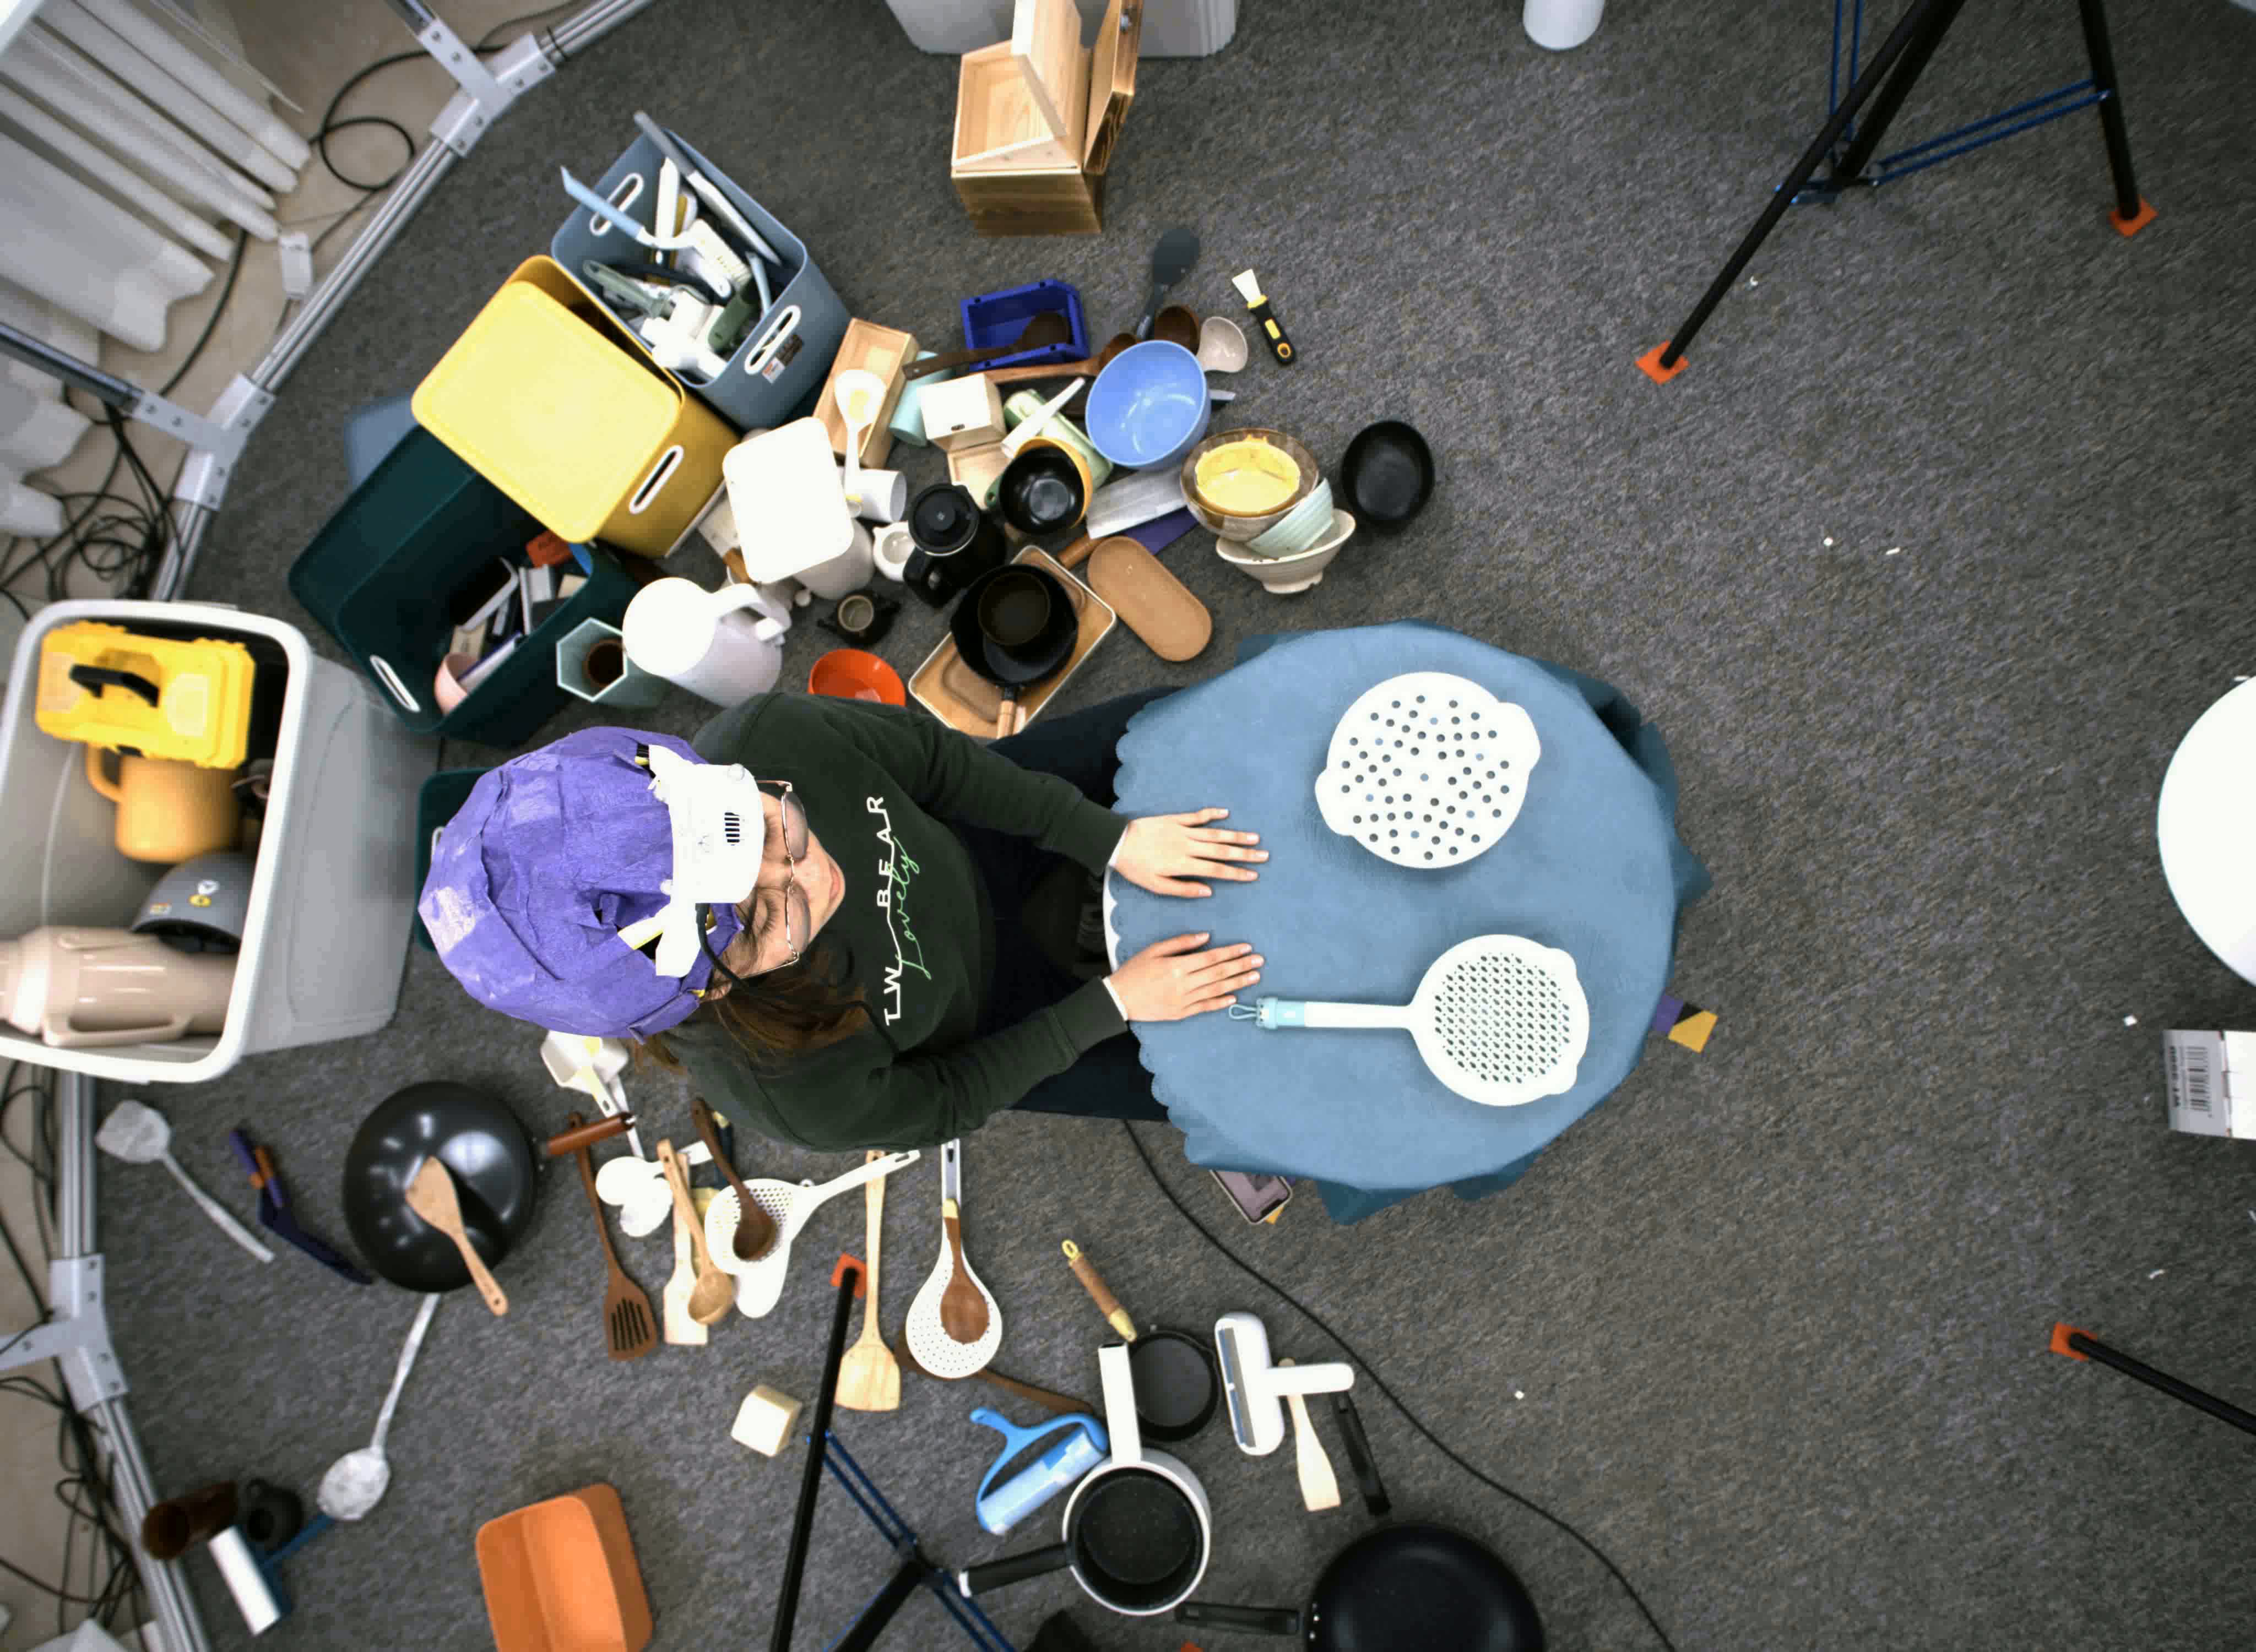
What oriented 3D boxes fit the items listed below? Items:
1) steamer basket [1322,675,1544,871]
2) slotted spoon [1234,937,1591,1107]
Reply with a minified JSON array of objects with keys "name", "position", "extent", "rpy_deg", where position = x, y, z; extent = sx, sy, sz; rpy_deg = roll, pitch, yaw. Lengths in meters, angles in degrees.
[{"name":"steamer basket","position":[0.316,-0.054,1.433],"extent":[0.232,0.069,0.200],"rpy_deg":[-22,81,8]},{"name":"slotted spoon","position":[0.285,0.196,1.421],"extent":[0.360,0.075,0.168],"rpy_deg":[0,85,10]}]
